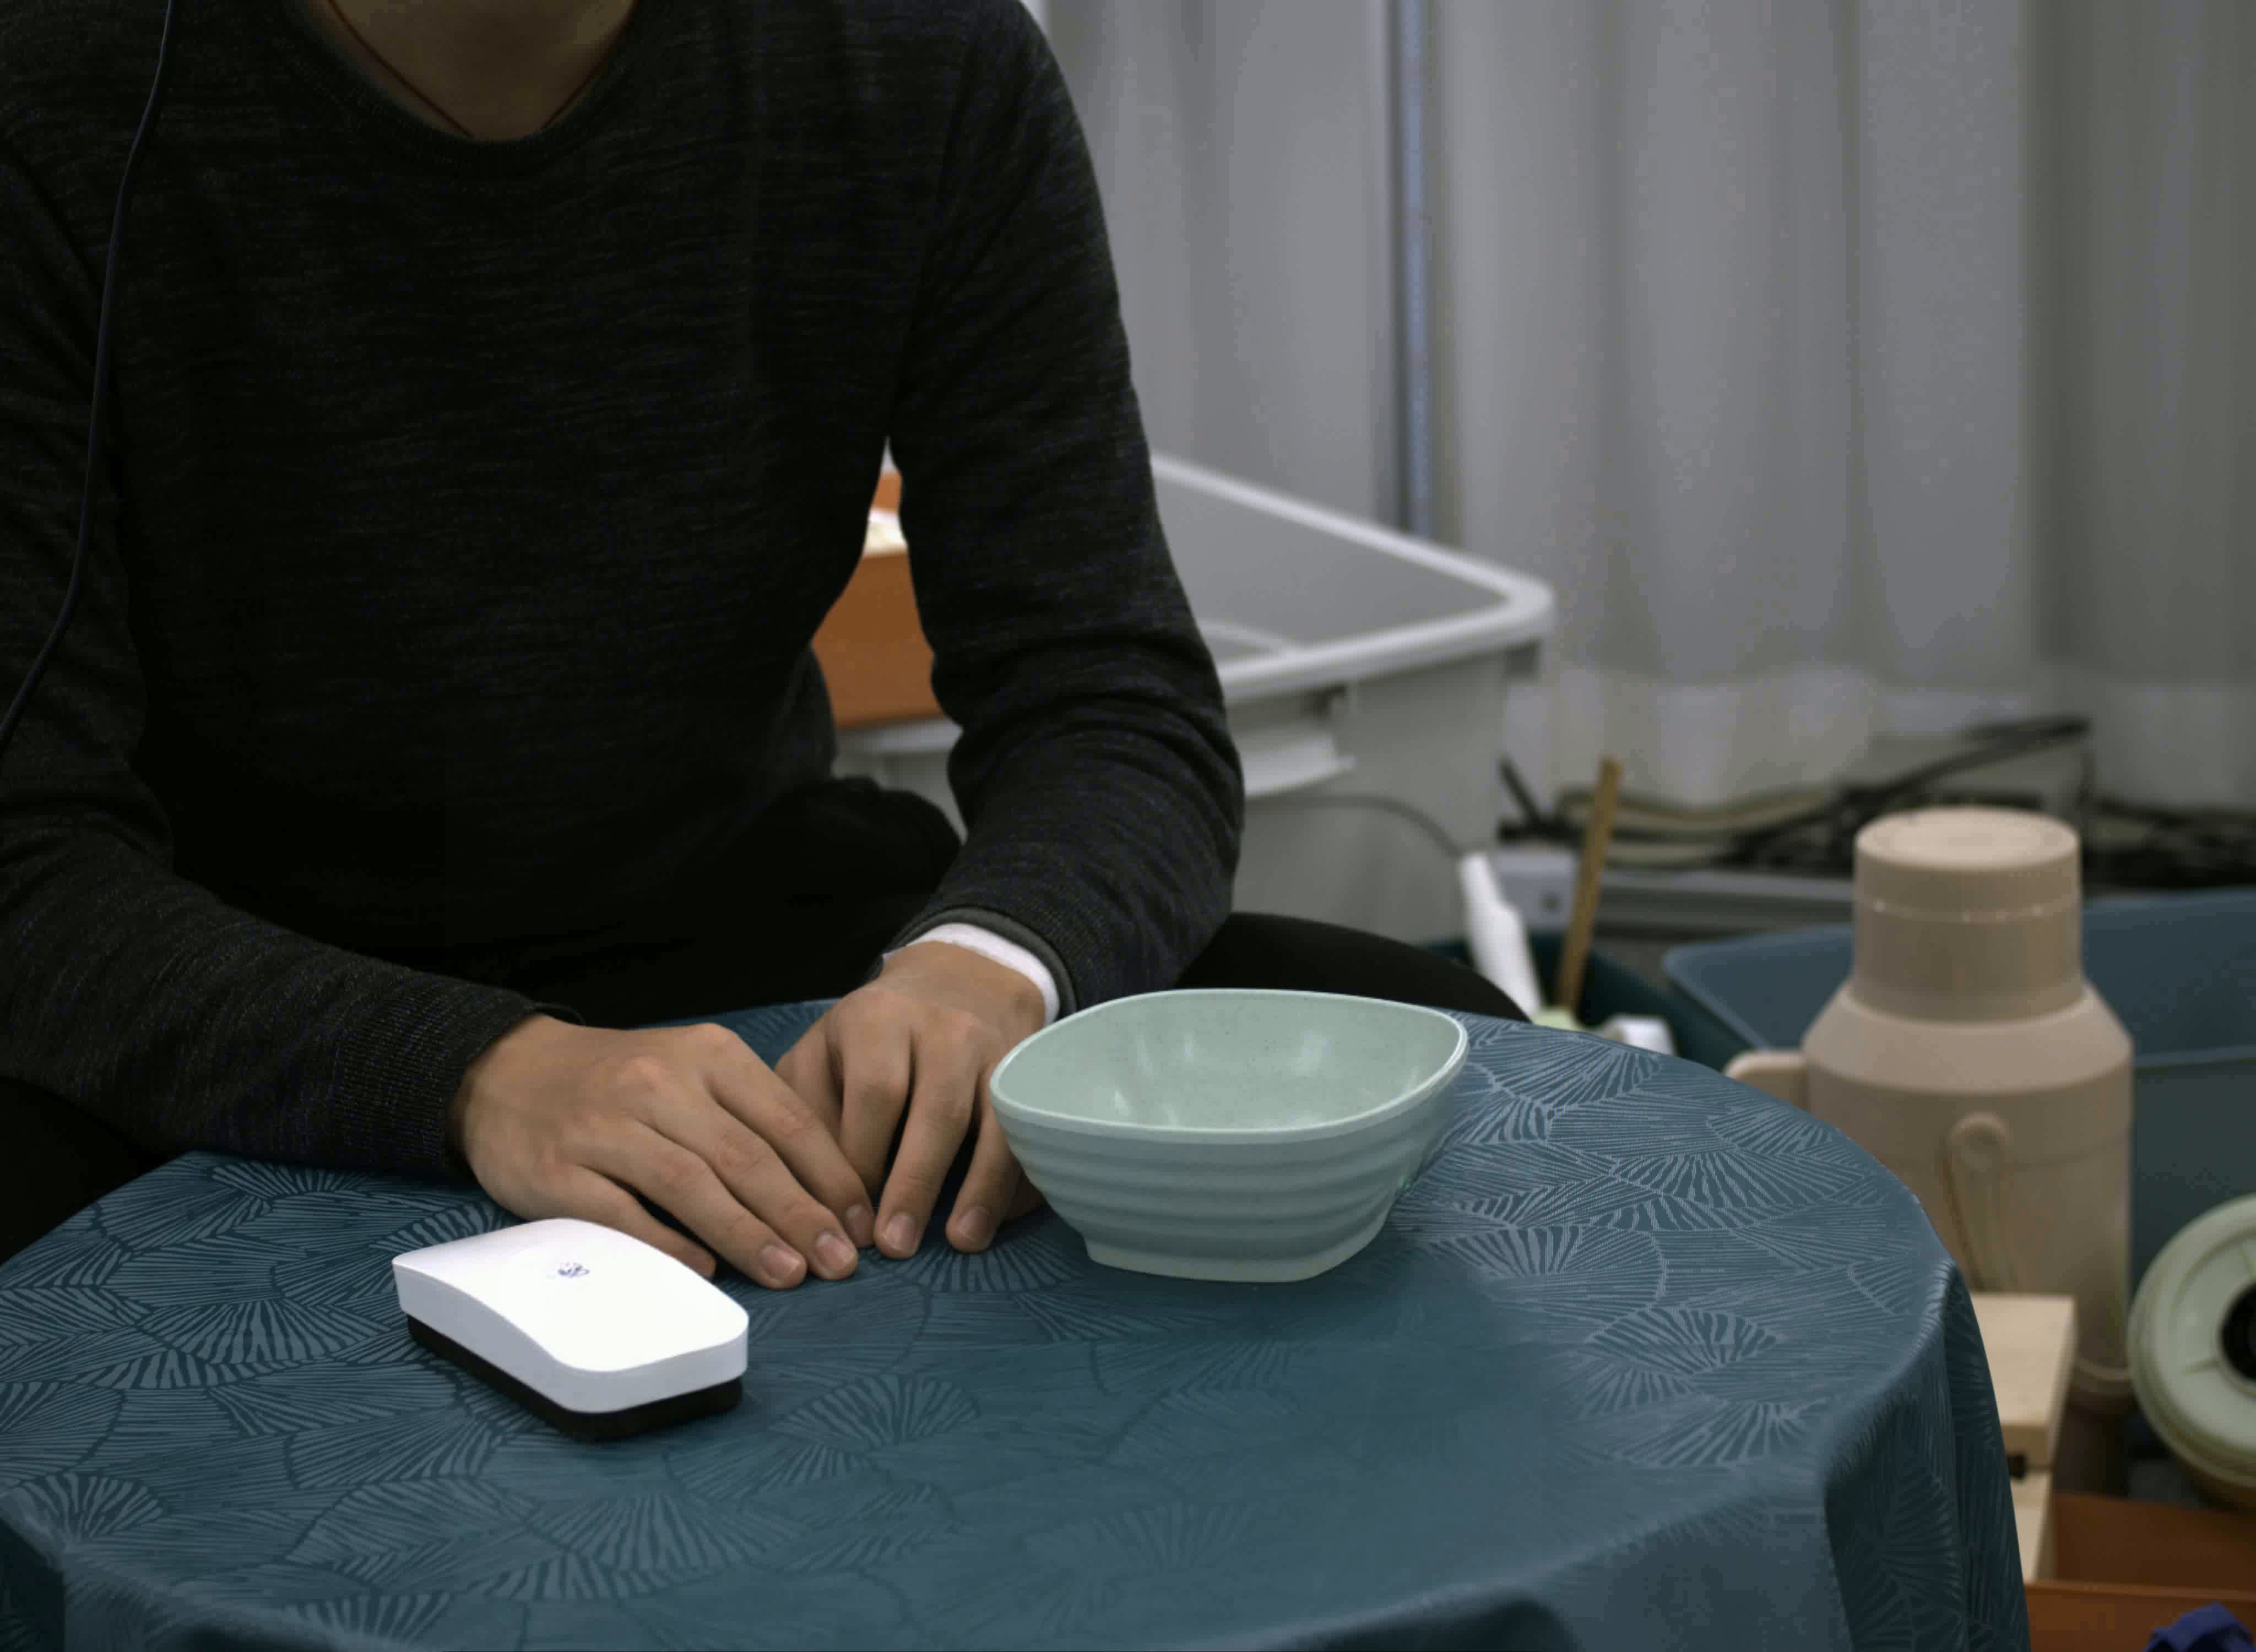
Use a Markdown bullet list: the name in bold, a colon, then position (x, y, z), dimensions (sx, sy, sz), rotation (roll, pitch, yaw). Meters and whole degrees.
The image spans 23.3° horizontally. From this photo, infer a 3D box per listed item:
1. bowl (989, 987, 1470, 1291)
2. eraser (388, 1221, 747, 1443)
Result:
- **bowl**: position (0.032, 0.098, 1.663), dimensions (0.151, 0.058, 0.152), rotation (-2, 16, 0)
- **eraser**: position (-0.162, 0.142, 1.582), dimensions (0.063, 0.034, 0.132), rotation (-9, 17, -31)
